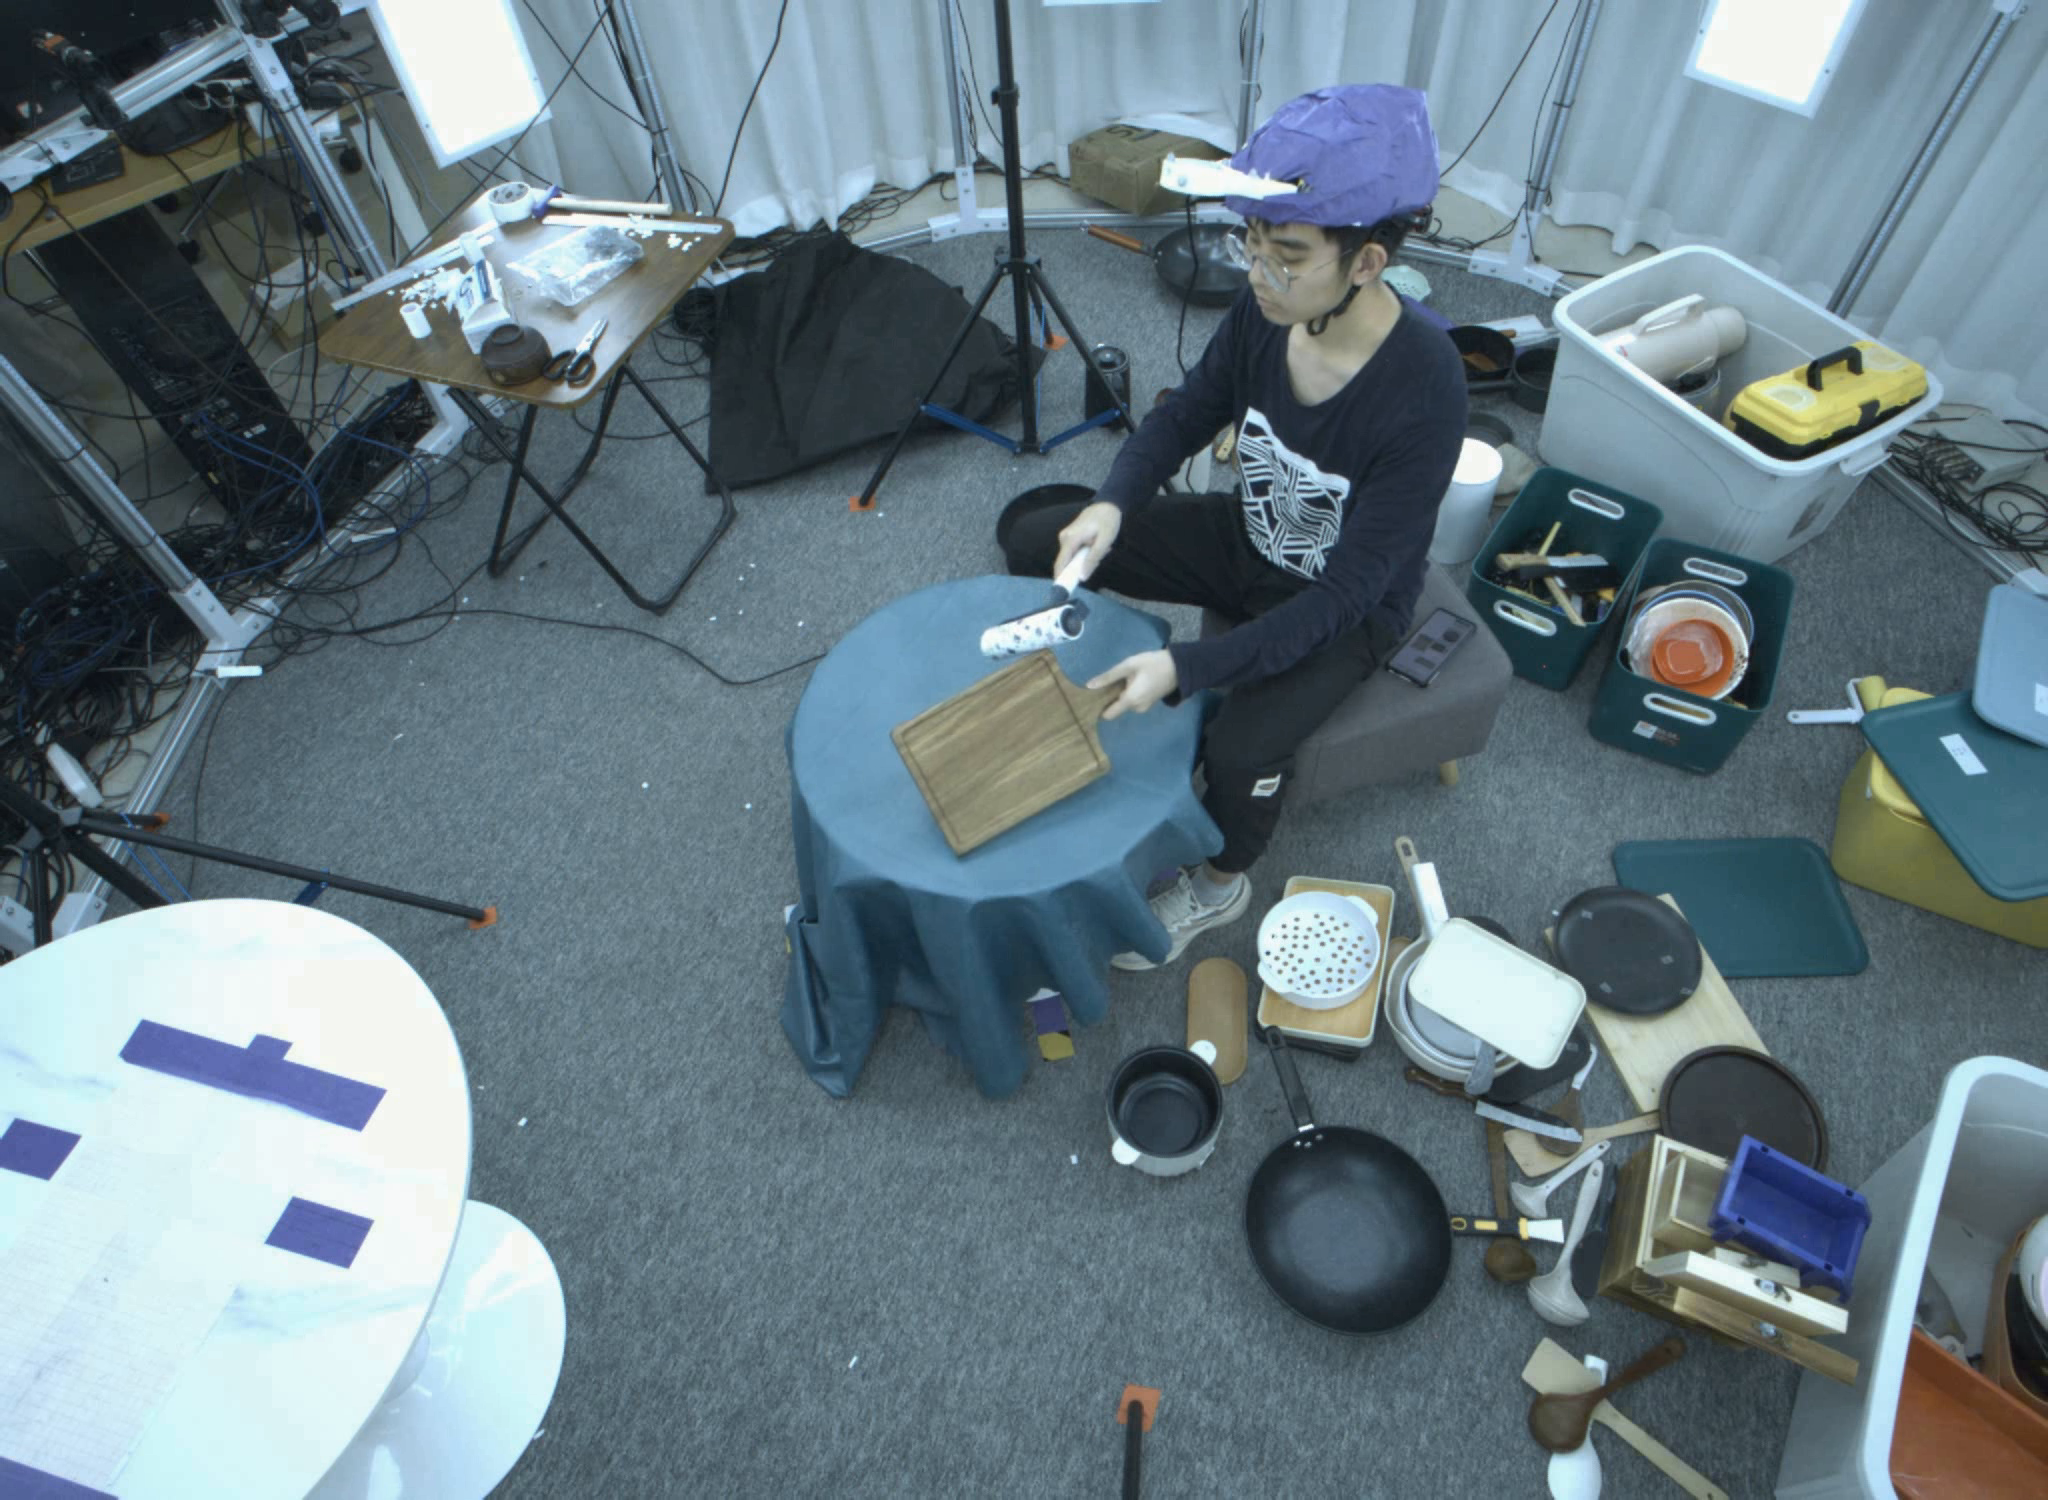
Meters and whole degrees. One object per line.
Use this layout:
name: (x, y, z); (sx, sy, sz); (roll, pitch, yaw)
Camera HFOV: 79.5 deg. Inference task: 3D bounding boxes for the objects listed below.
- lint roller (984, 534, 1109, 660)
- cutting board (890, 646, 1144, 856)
lint roller: (0.056, -0.233, 1.750); (0.173, 0.051, 0.247); (-13, 36, 46)
cutting board: (0.013, -0.024, 1.698); (0.353, 0.023, 0.202); (-30, 99, -9)
